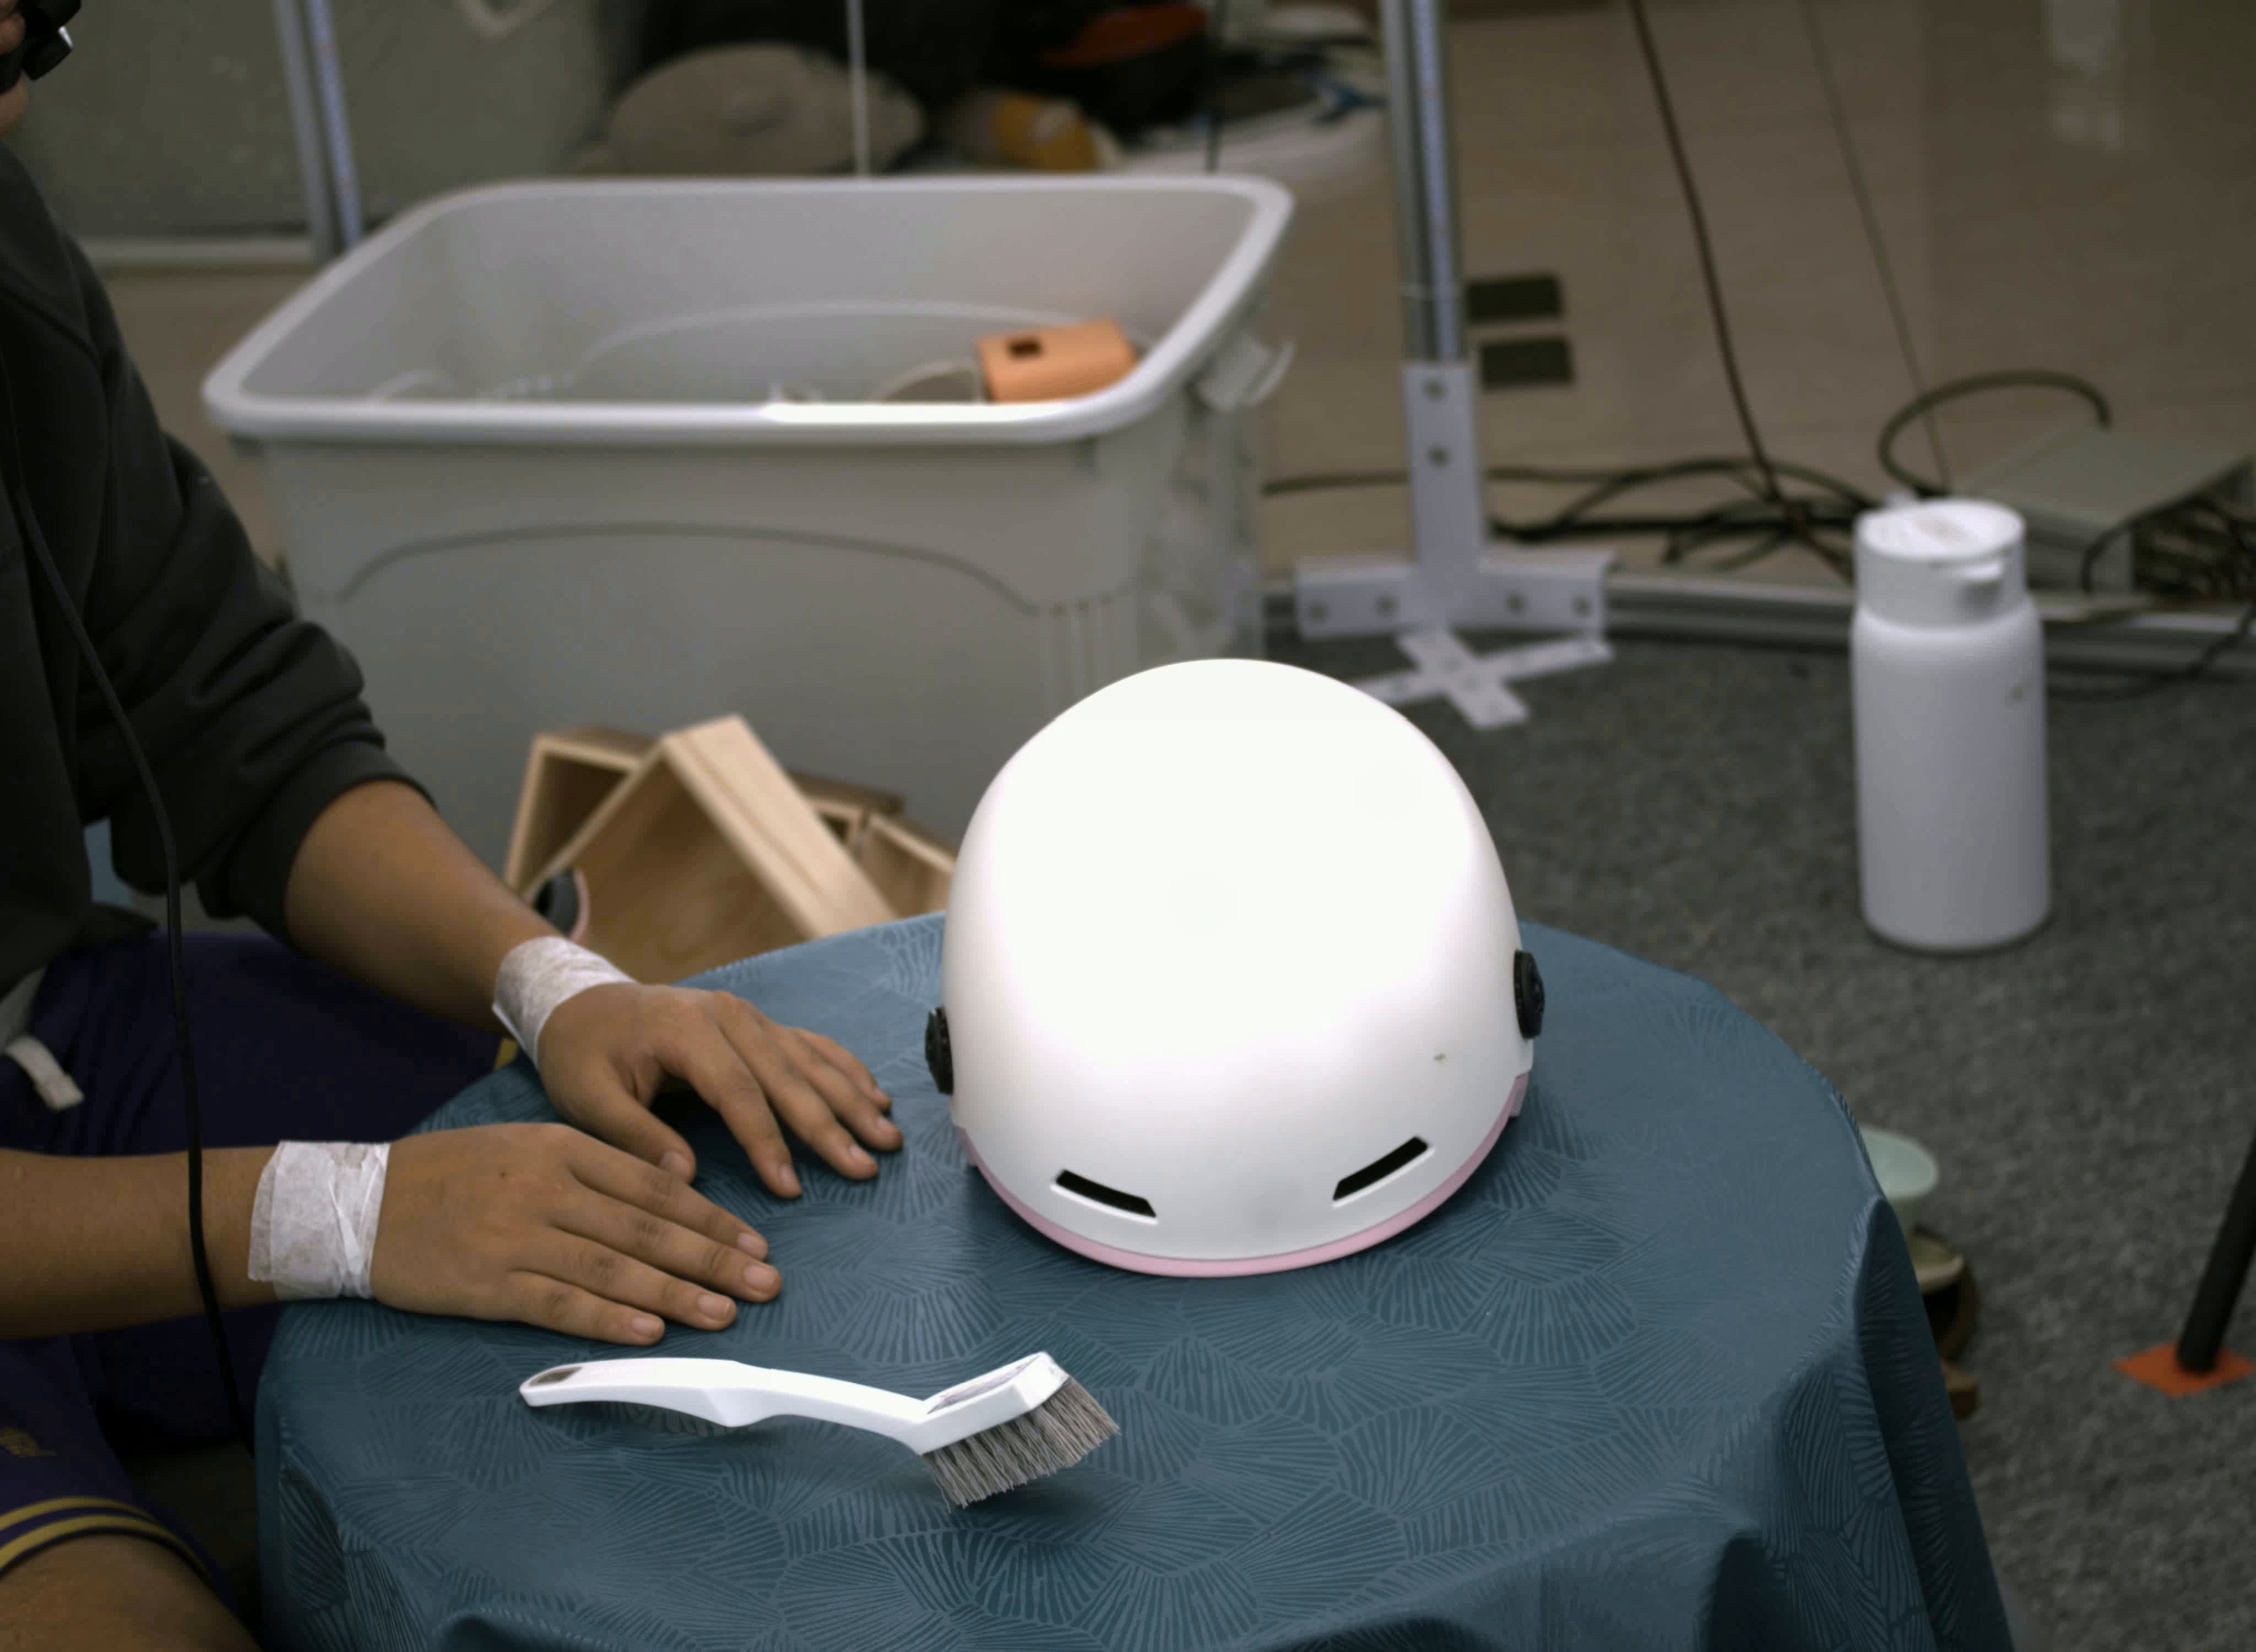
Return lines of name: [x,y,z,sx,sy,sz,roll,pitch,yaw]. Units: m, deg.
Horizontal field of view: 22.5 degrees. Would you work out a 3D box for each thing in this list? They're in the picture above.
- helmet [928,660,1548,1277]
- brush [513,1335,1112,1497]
helmet: [0.039,0.036,2.161,0.237,0.170,0.264,-4,25,4]
brush: [-0.114,0.211,1.992,0.243,0.051,0.034,-7,18,33]
